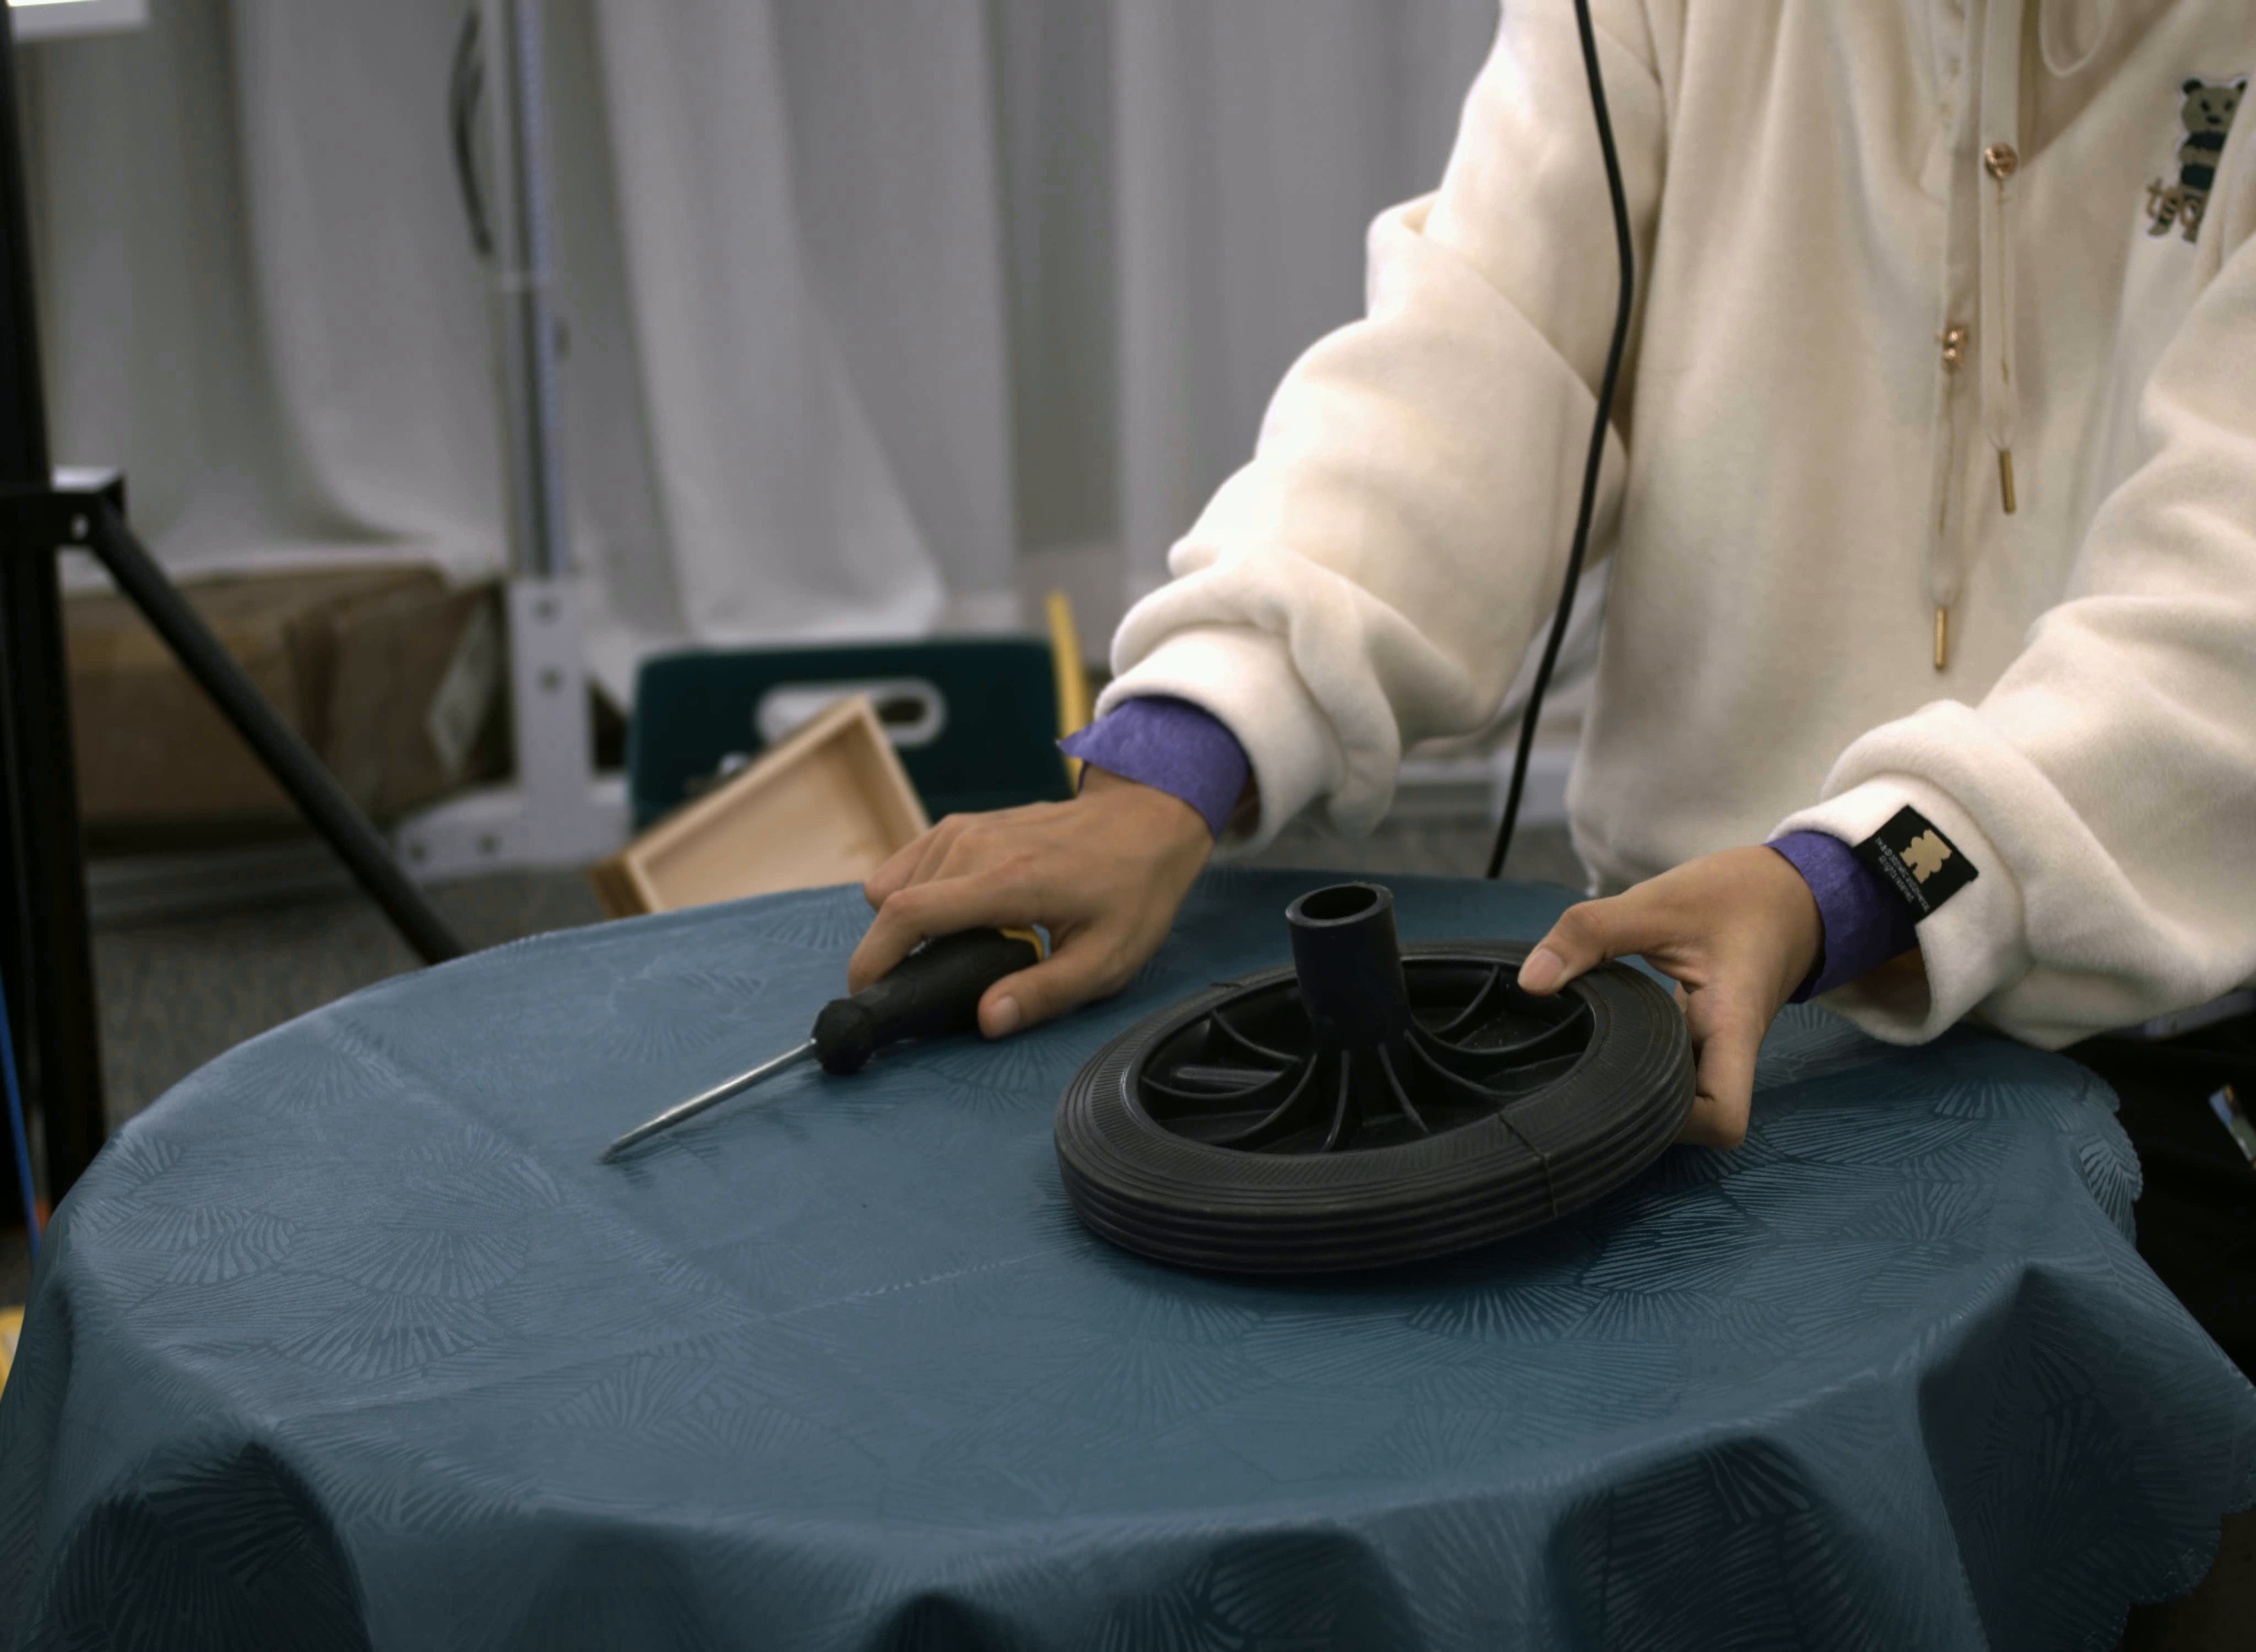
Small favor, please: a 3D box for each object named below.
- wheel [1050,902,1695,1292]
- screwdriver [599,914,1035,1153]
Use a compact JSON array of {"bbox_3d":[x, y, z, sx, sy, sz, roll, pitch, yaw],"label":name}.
[{"bbox_3d":[0.066,0.064,1.538,0.190,0.079,0.187,-10,21,11],"label":"wheel"},{"bbox_3d":[-0.099,0.066,1.676,0.032,0.031,0.193,12,24,41],"label":"screwdriver"}]
